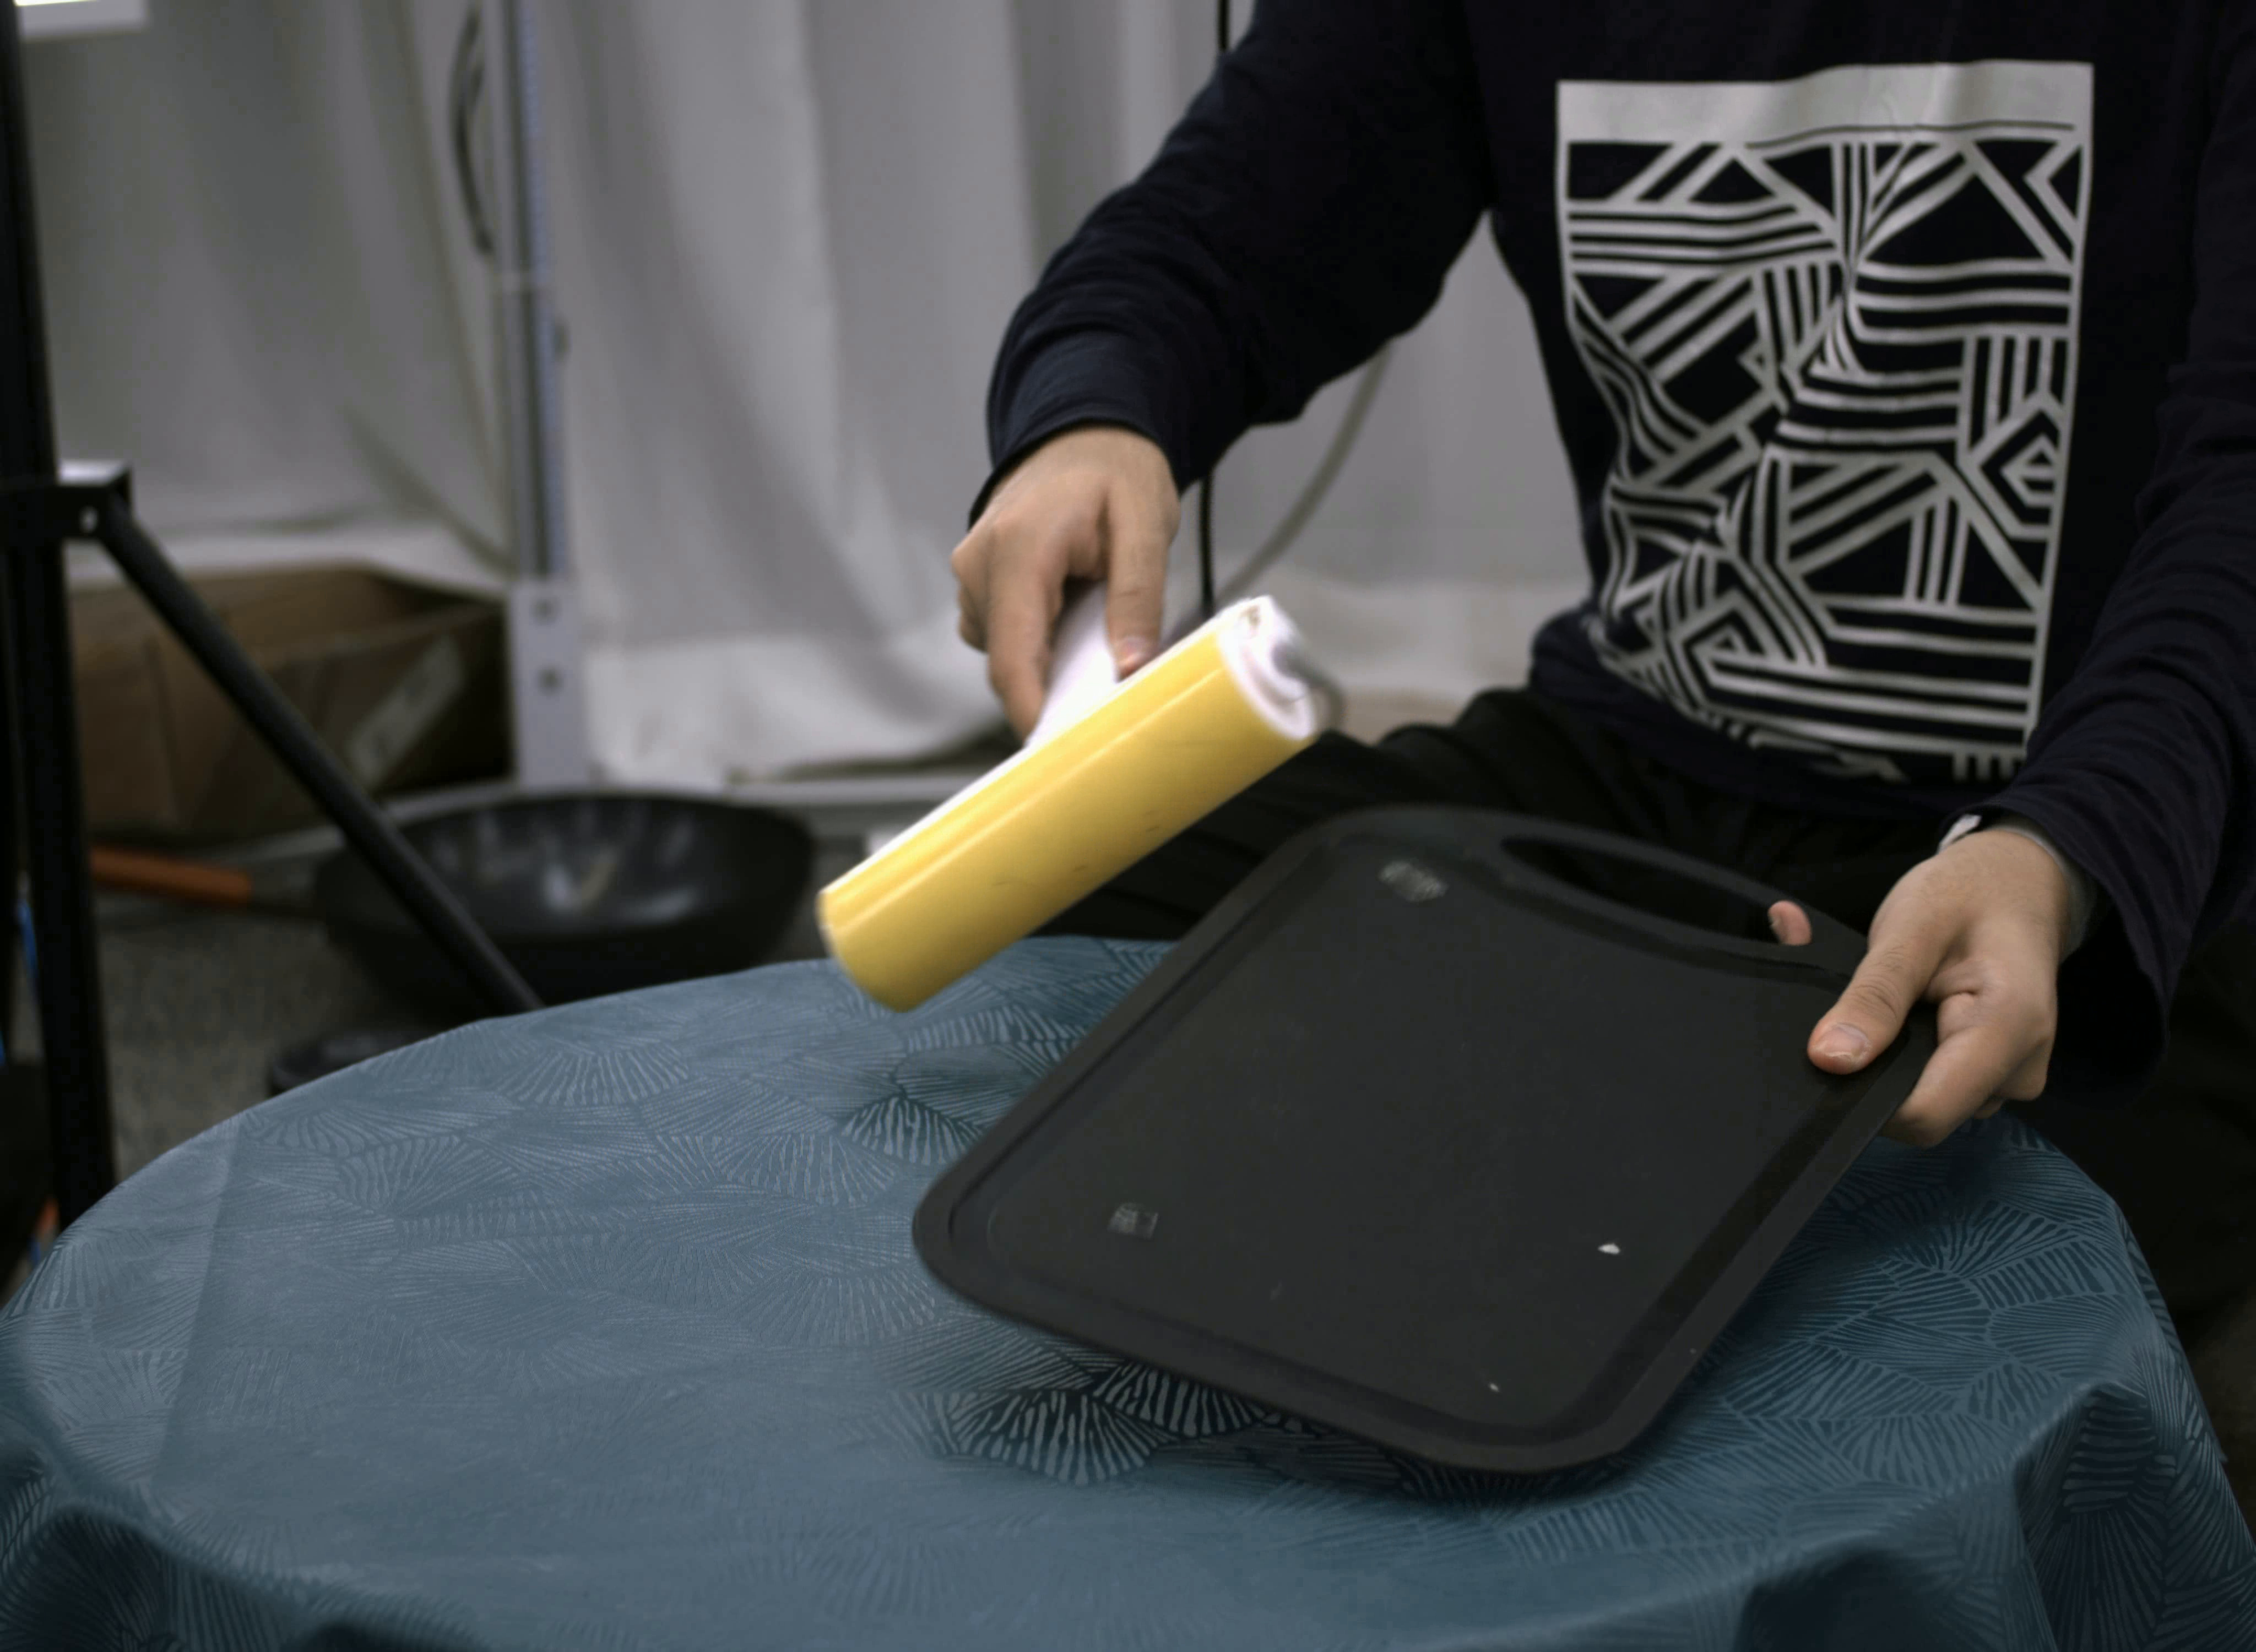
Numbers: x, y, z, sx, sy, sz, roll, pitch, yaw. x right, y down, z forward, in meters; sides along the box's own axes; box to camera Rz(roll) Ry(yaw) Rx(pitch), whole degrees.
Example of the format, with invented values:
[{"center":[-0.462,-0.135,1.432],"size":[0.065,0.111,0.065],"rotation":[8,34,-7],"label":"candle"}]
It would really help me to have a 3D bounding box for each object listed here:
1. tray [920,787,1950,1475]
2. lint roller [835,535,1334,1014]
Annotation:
[{"center":[0.094,0.071,1.471],"size":[0.214,0.010,0.321],"rotation":[19,33,23],"label":"tray"},{"center":[-0.019,-0.045,1.694],"size":[0.176,0.050,0.194],"rotation":[-35,33,20],"label":"lint roller"}]
